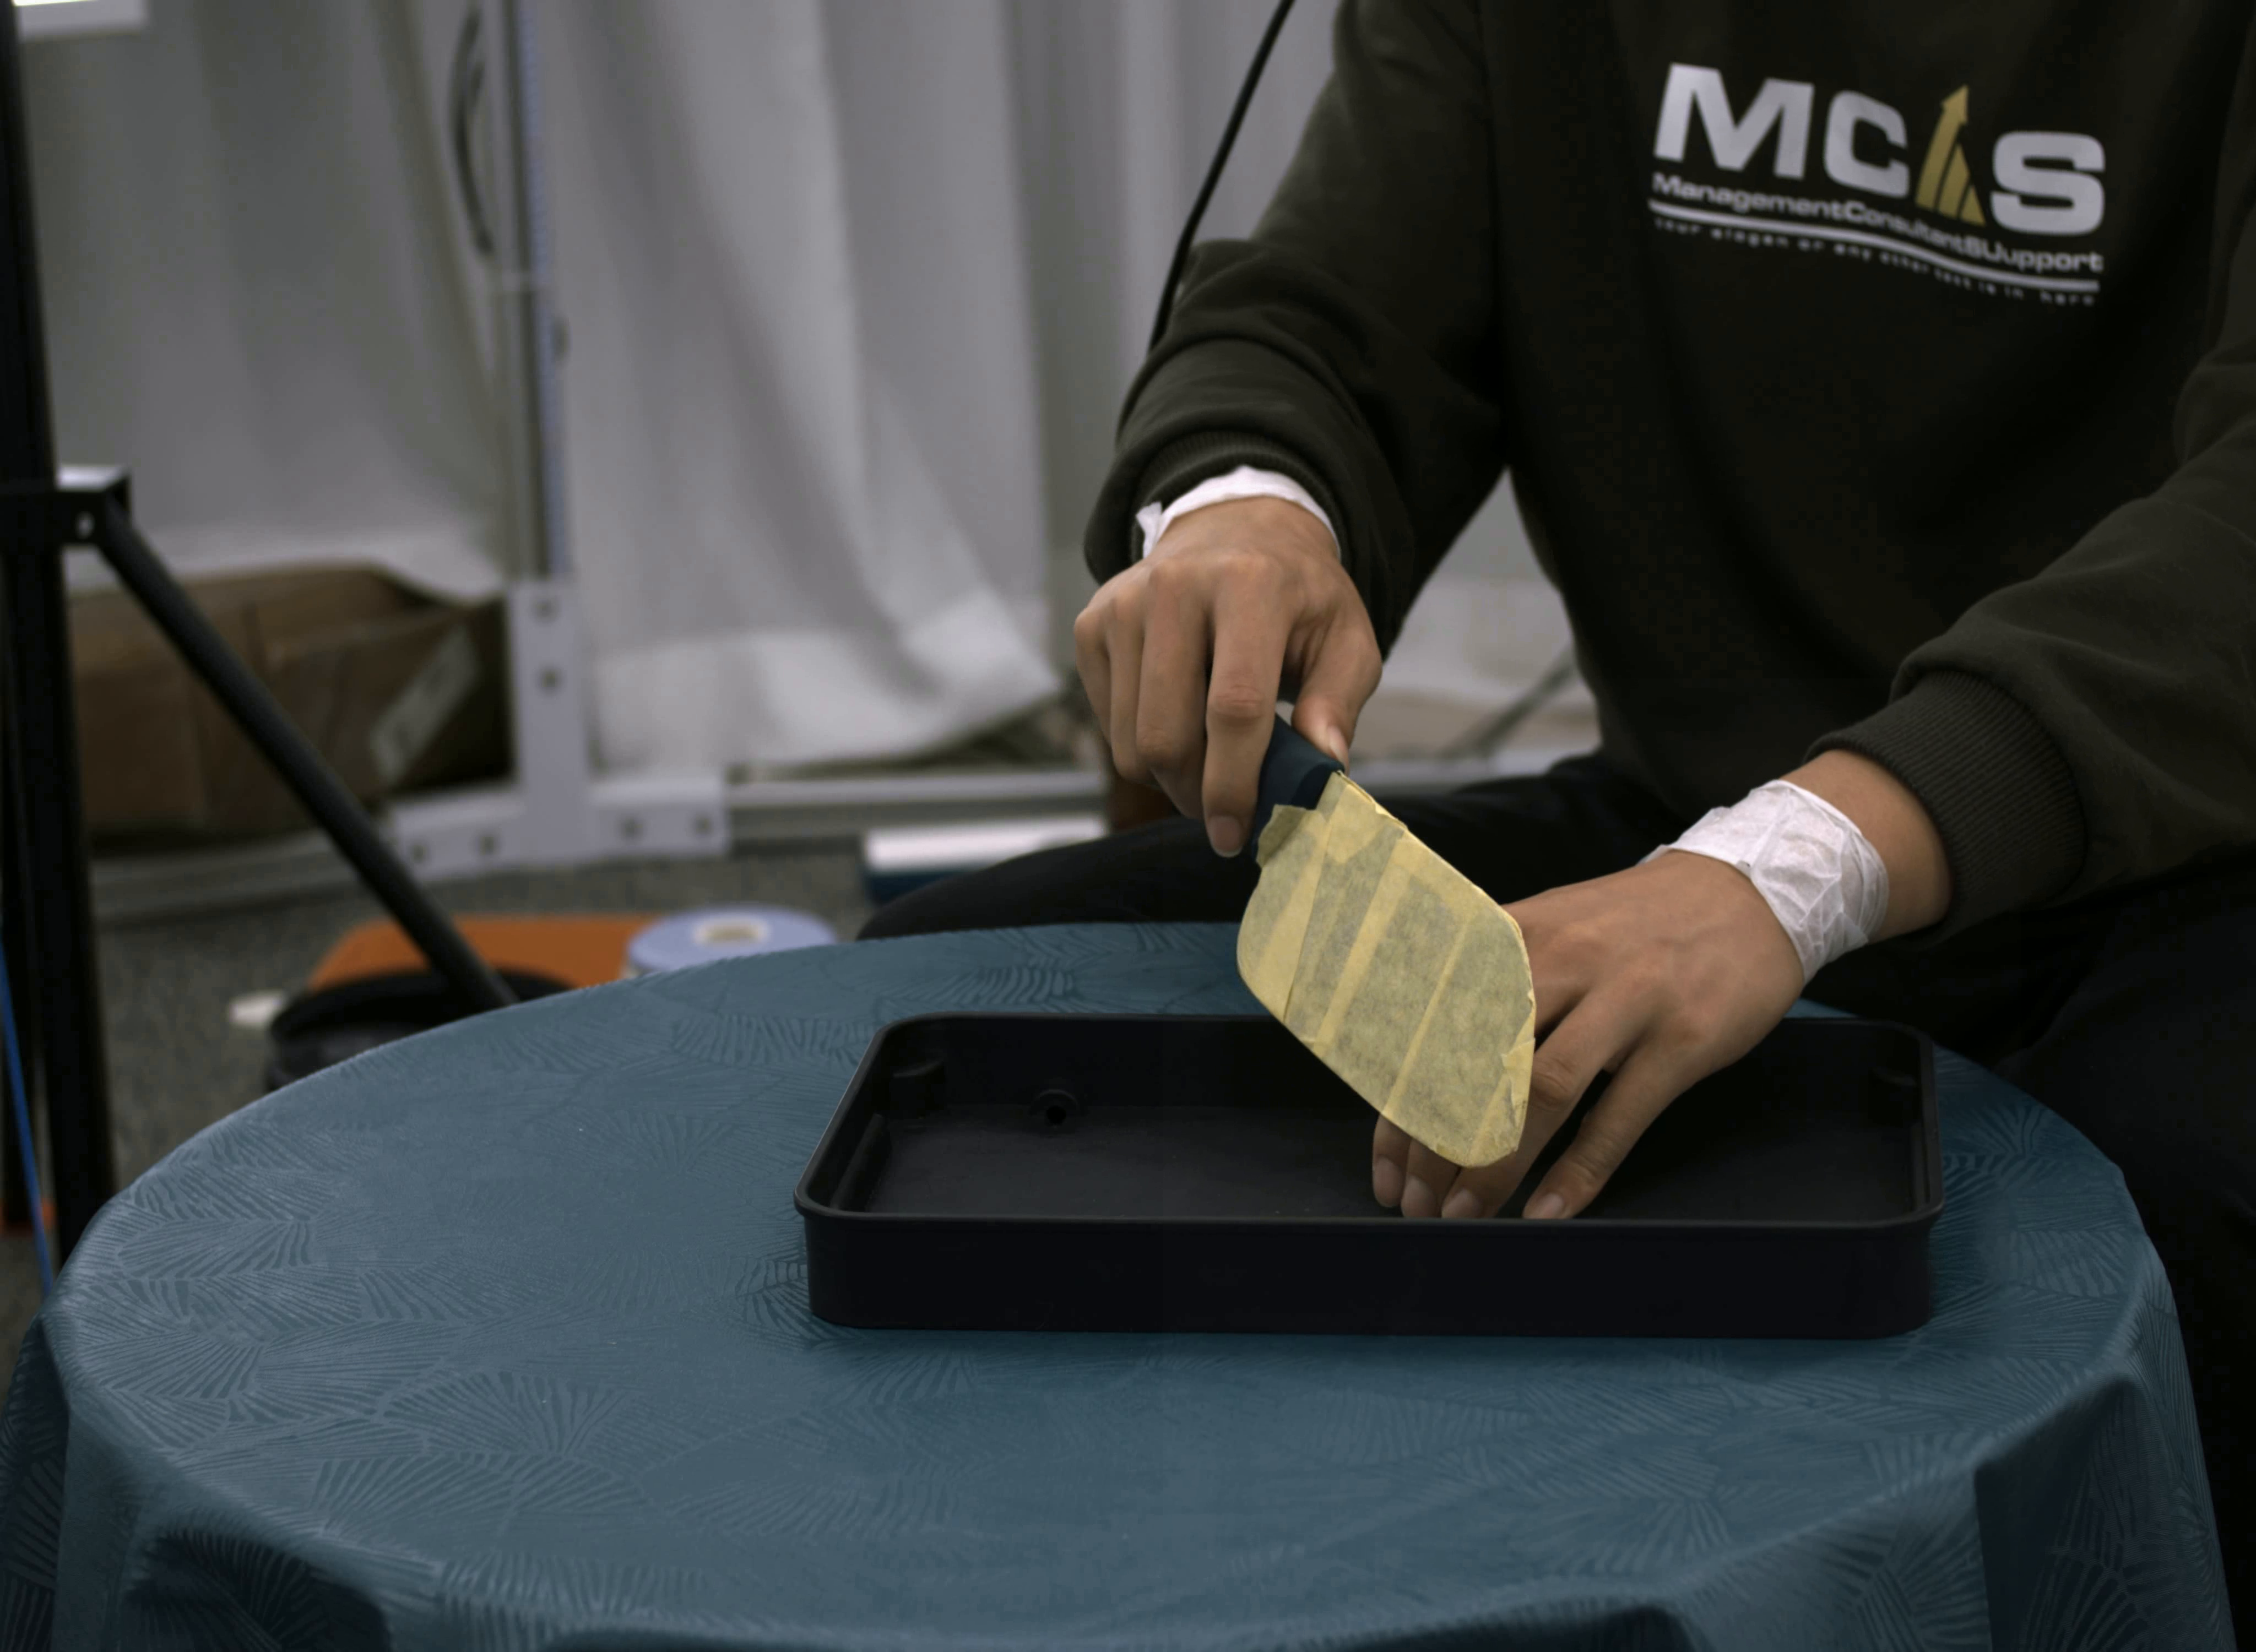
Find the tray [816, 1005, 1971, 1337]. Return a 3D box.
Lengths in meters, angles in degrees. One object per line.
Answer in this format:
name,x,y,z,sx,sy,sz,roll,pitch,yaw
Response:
tray,0.078,0.097,1.520,0.318,0.037,0.184,0,16,7

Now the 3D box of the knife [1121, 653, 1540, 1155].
knife,0.055,0.019,1.575,0.026,0.081,0.295,18,16,-29
